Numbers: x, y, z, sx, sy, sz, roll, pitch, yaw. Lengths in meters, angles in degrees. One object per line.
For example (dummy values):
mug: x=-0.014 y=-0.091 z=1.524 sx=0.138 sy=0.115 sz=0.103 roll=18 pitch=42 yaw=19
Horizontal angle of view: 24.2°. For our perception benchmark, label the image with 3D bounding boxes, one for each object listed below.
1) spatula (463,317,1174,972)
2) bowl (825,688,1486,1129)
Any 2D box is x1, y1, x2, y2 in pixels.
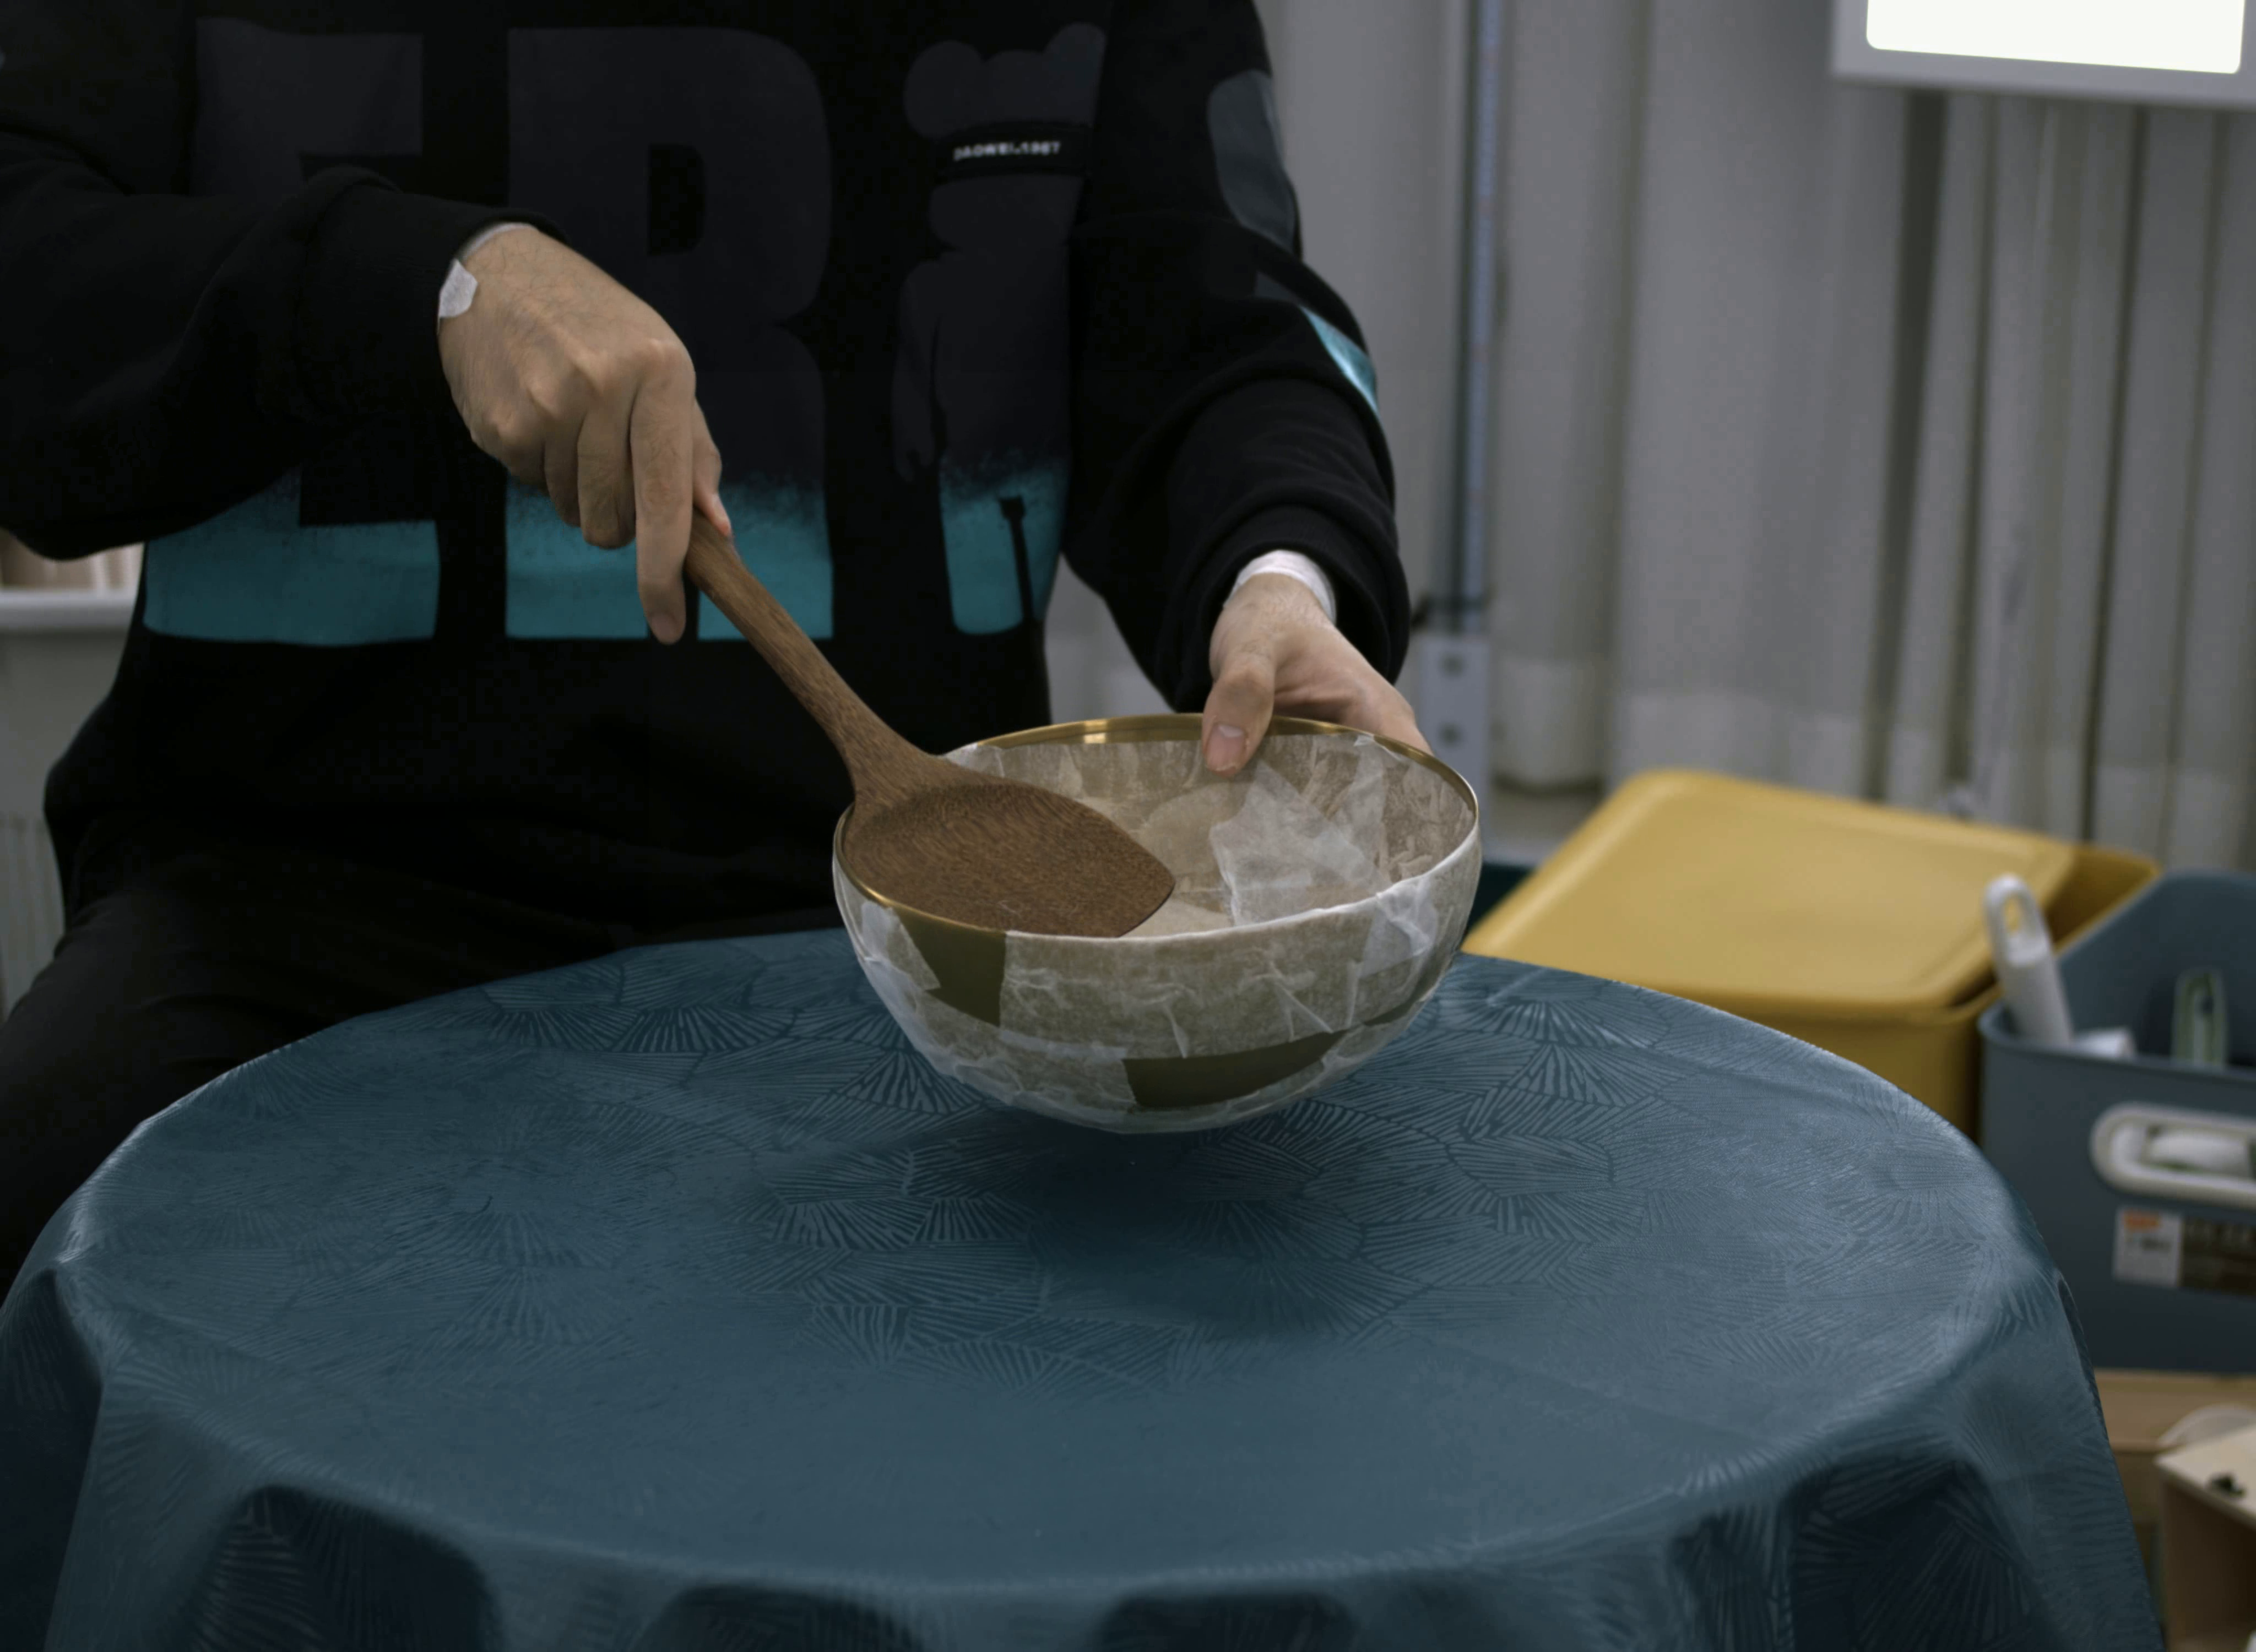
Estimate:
spatula: x=-0.120 y=-0.067 z=1.697 sx=0.096 sy=0.016 sz=0.381 roll=-18 pitch=46 yaw=-29
bowl: x=0.012 y=0.035 z=1.633 sx=0.214 sy=0.095 sz=0.213 roll=-2 pitch=23 yaw=2
